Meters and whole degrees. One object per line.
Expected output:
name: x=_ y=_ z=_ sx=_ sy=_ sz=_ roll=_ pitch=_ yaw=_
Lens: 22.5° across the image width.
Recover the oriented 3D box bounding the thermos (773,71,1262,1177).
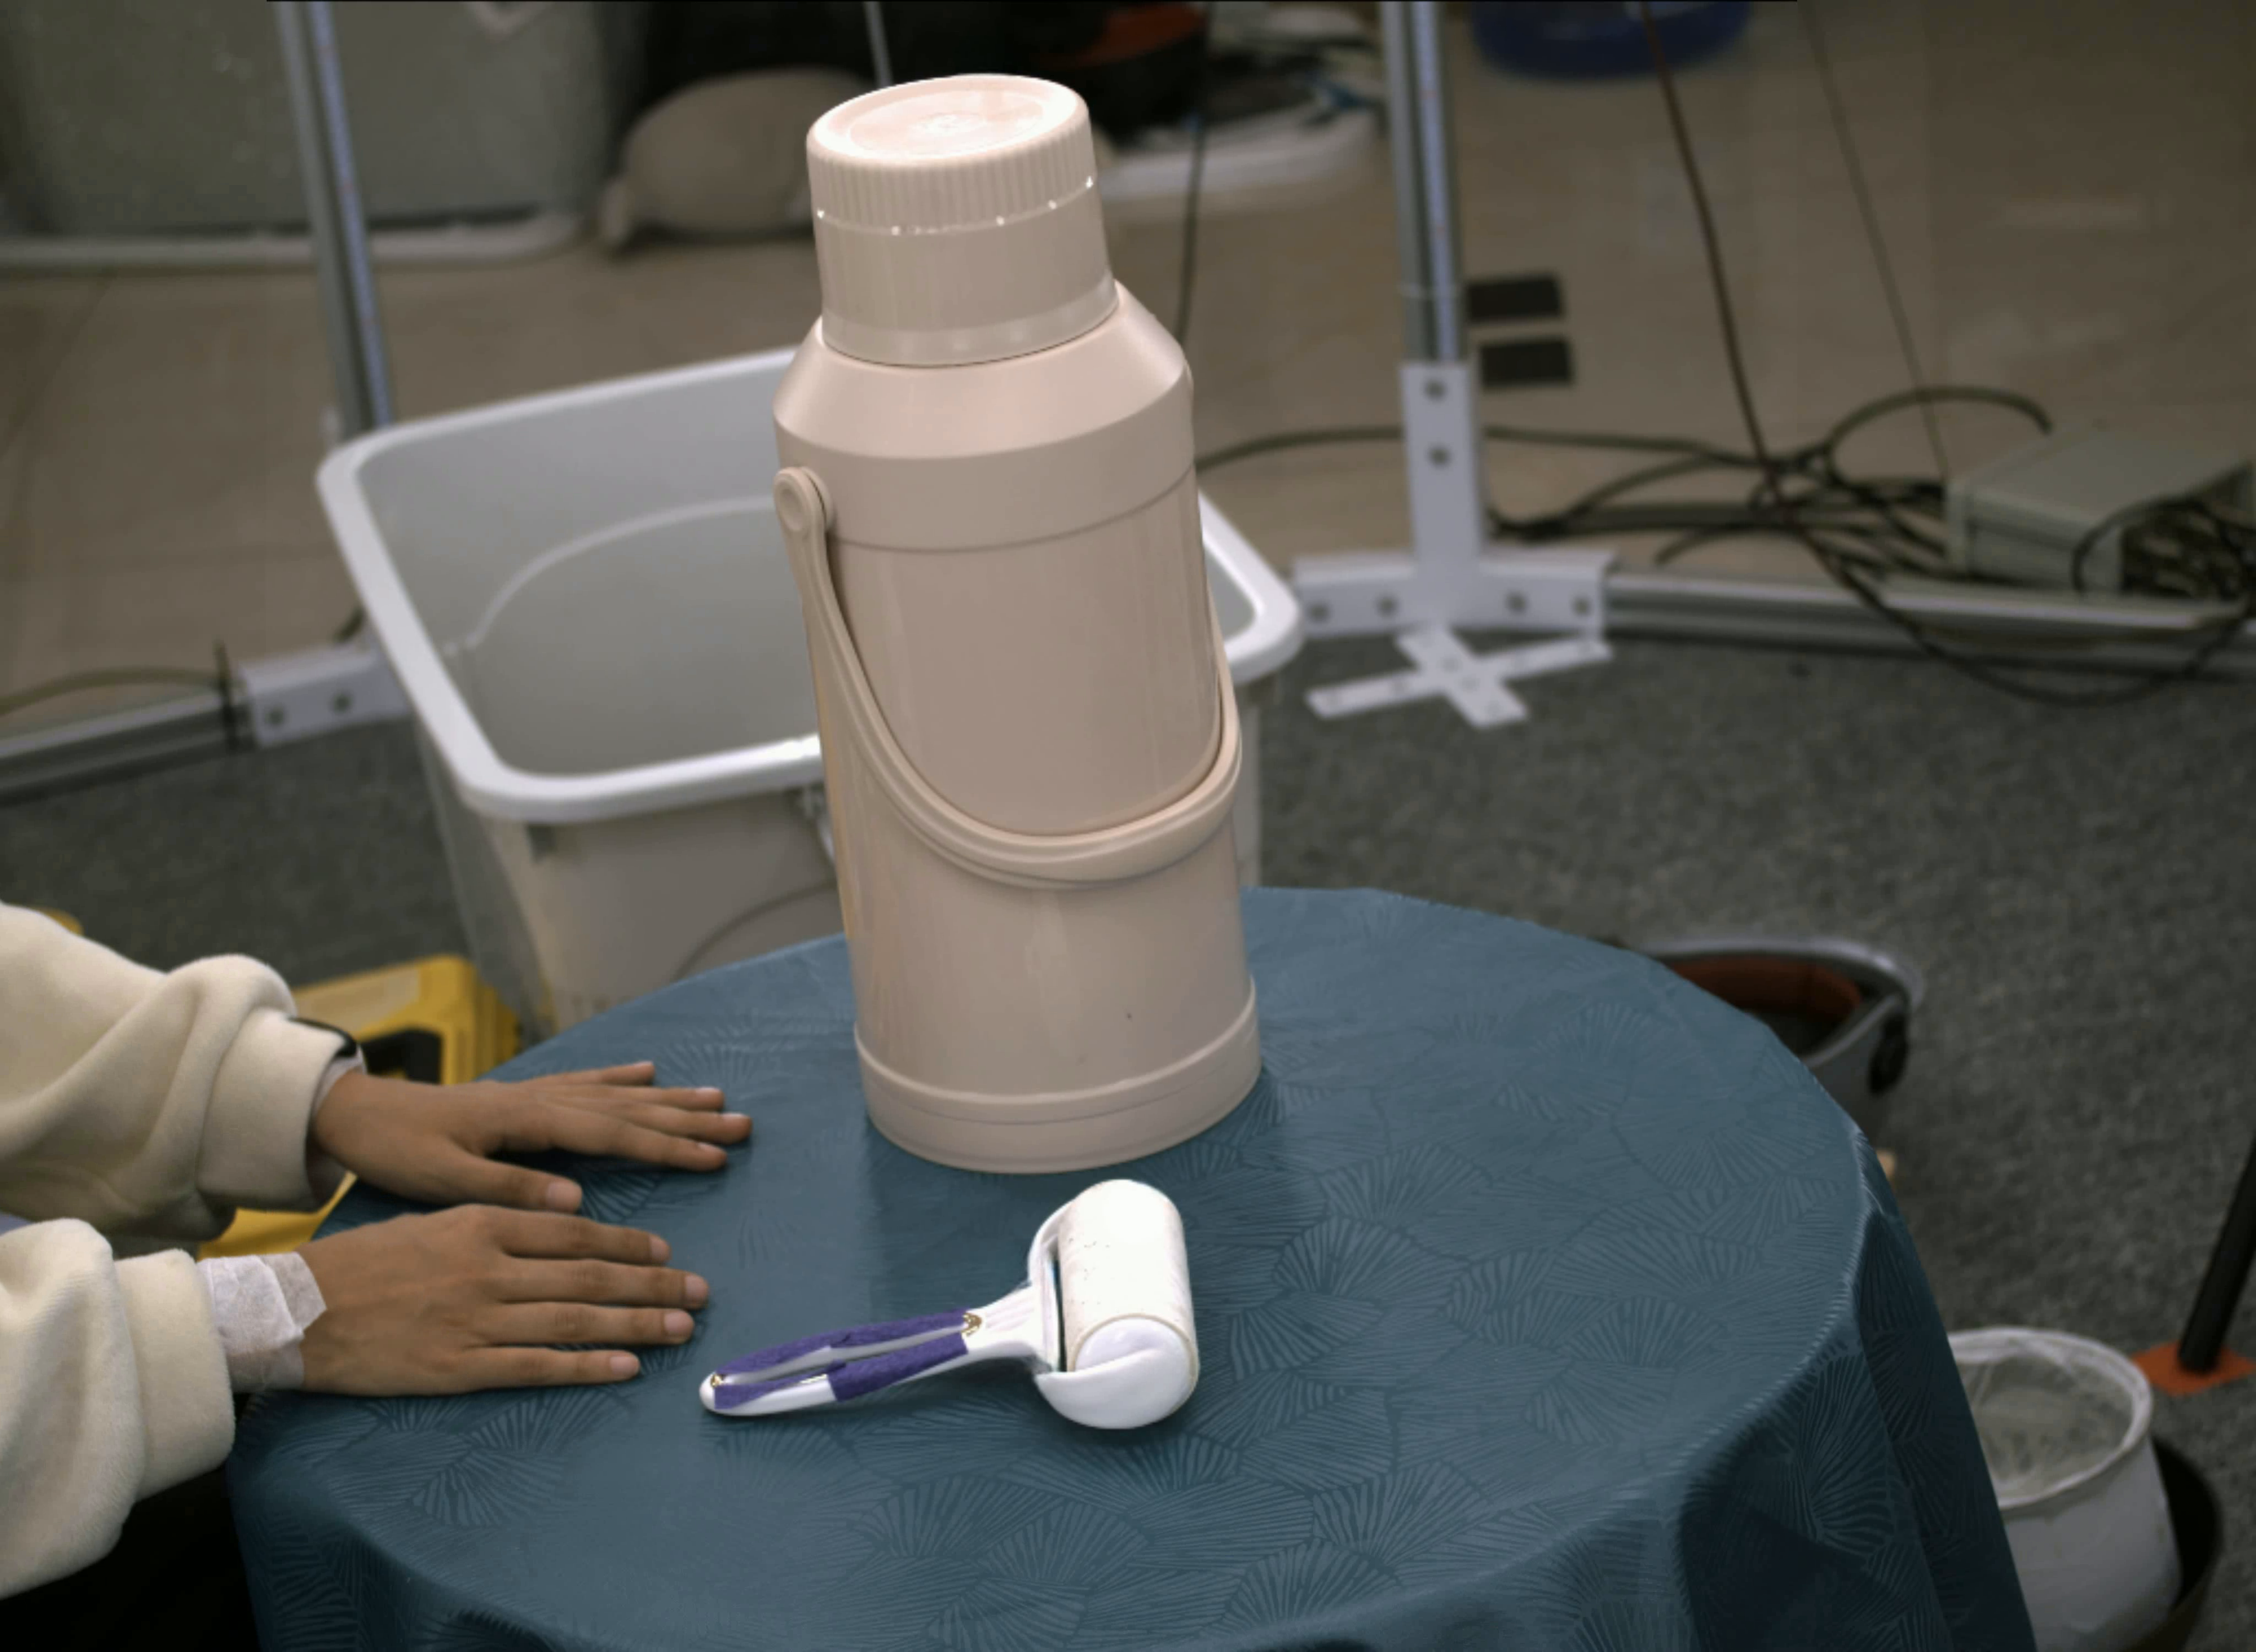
thermos: x=-0.052 y=-0.082 z=2.159 sx=0.174 sy=0.413 sz=0.205 roll=-23 pitch=30 yaw=-29

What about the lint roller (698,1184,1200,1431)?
lint roller: x=-0.065 y=0.176 z=2.028 sx=0.180 sy=0.051 sz=0.131 roll=-3 pitch=26 yaw=1
